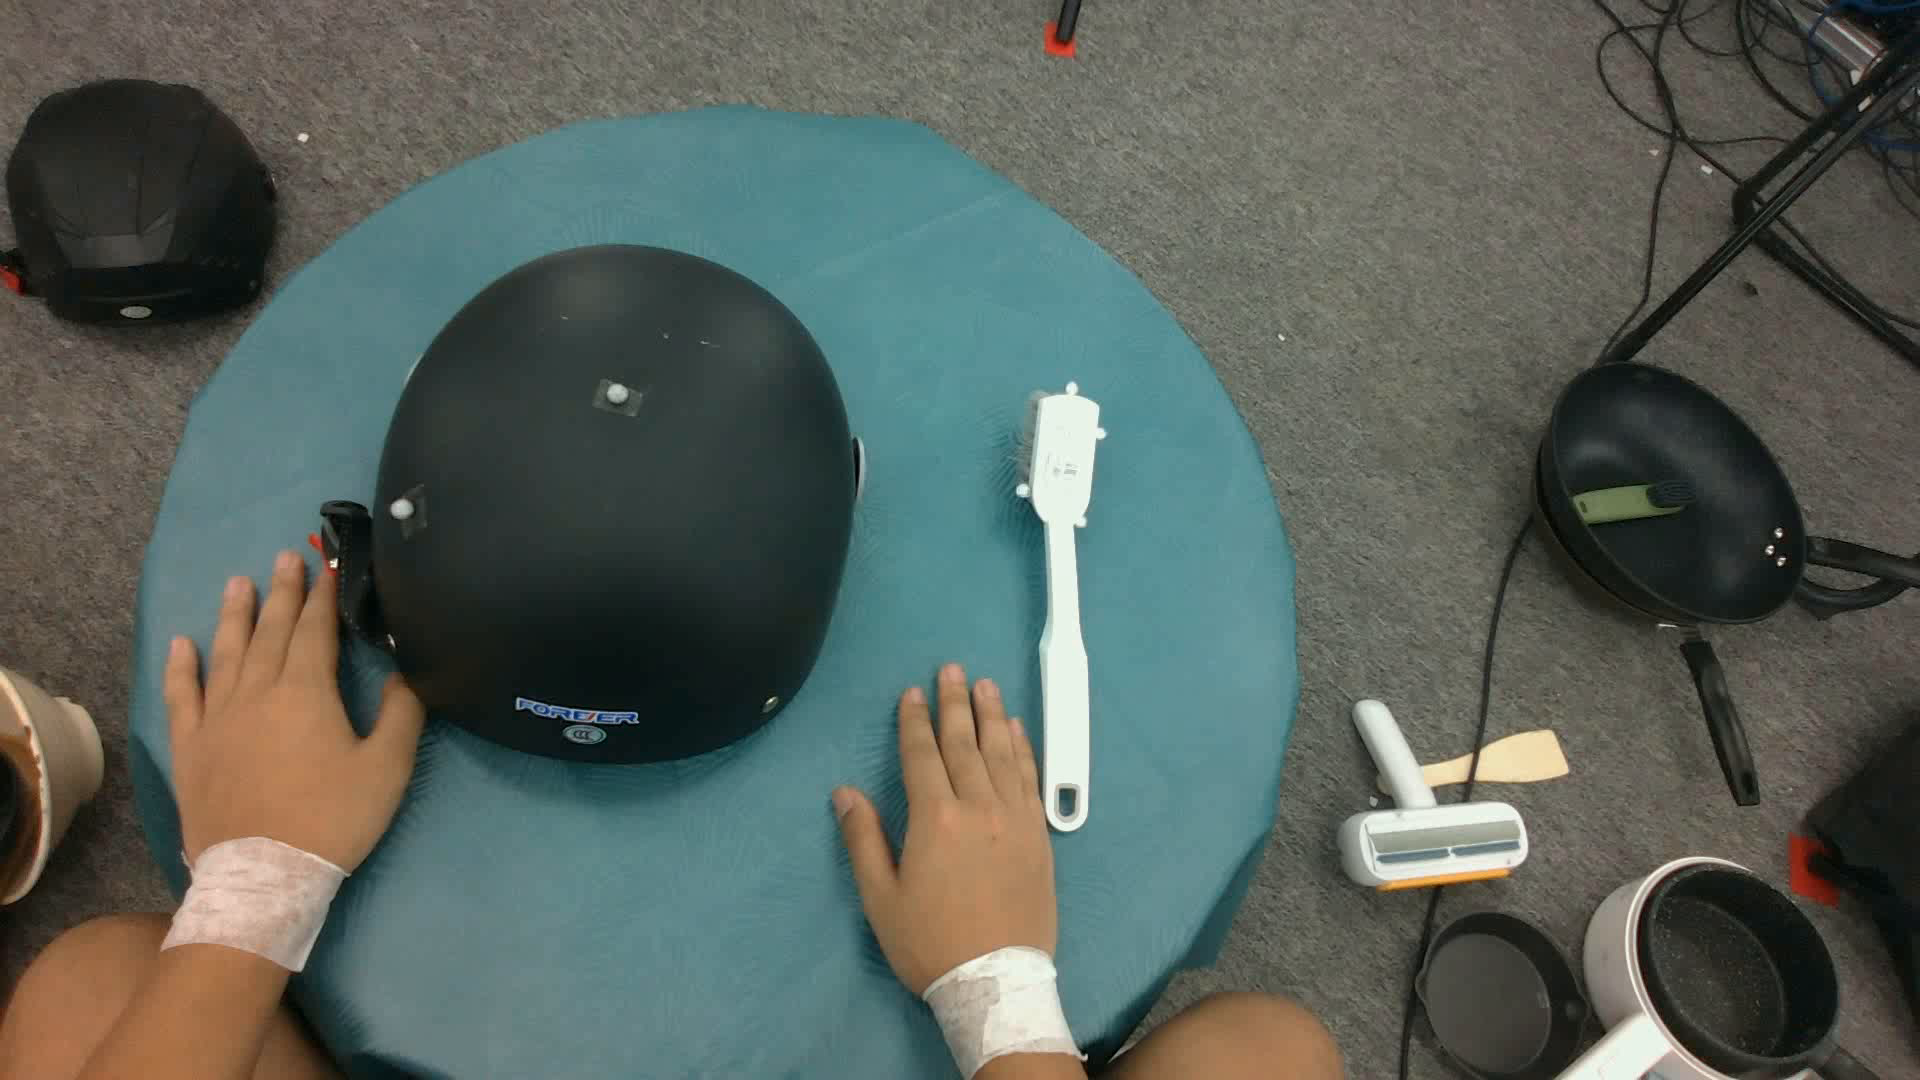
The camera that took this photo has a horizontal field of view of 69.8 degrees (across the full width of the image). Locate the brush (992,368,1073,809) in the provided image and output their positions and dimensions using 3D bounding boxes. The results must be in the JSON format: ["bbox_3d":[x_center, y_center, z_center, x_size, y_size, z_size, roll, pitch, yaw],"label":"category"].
[{"bbox_3d":[0.040,0.021,0.741,0.034,0.050,0.244,3,77,-16],"label":"brush"}]

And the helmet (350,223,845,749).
[{"bbox_3d":[-0.167,-0.046,0.651,0.230,0.166,0.274,13,60,-10],"label":"helmet"}]
